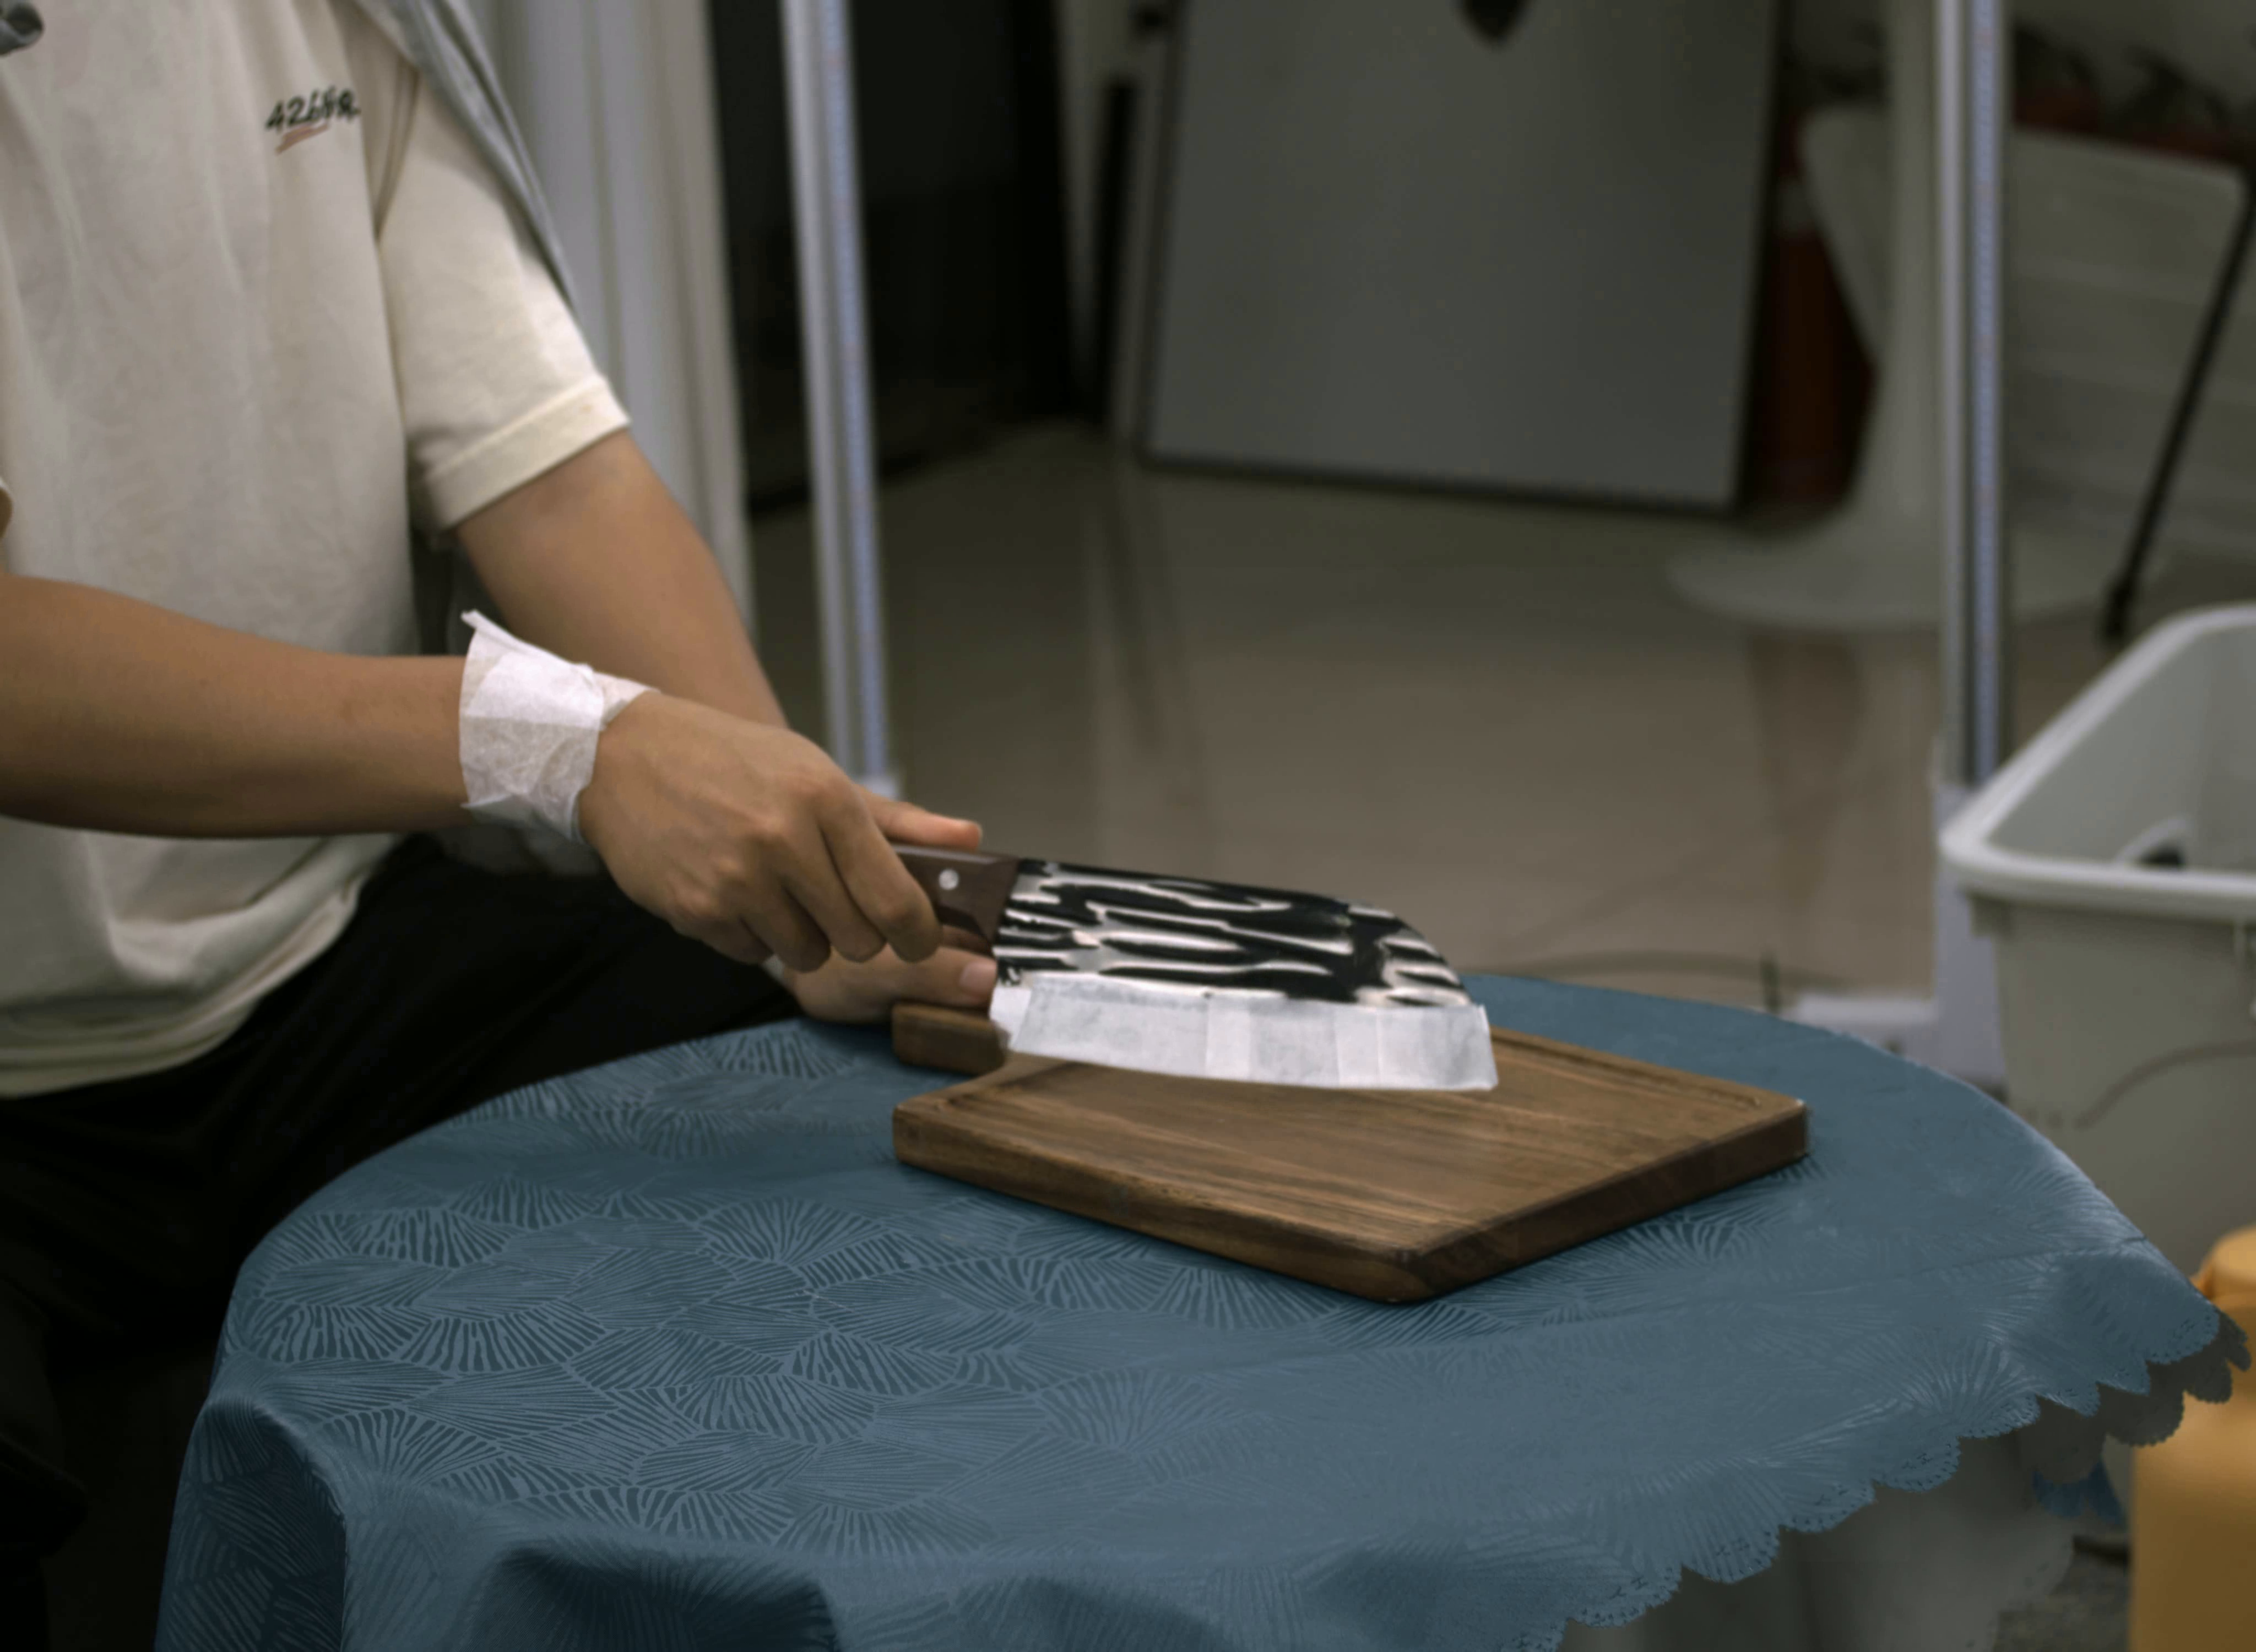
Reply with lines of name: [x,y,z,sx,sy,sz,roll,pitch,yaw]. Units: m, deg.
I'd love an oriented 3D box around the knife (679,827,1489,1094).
knife: [-0.018,0.046,1.830,0.299,0.069,0.024,8,-8,18]

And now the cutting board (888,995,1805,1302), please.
cutting board: [0.039,0.095,1.827,0.197,0.023,0.356,-15,17,-39]
